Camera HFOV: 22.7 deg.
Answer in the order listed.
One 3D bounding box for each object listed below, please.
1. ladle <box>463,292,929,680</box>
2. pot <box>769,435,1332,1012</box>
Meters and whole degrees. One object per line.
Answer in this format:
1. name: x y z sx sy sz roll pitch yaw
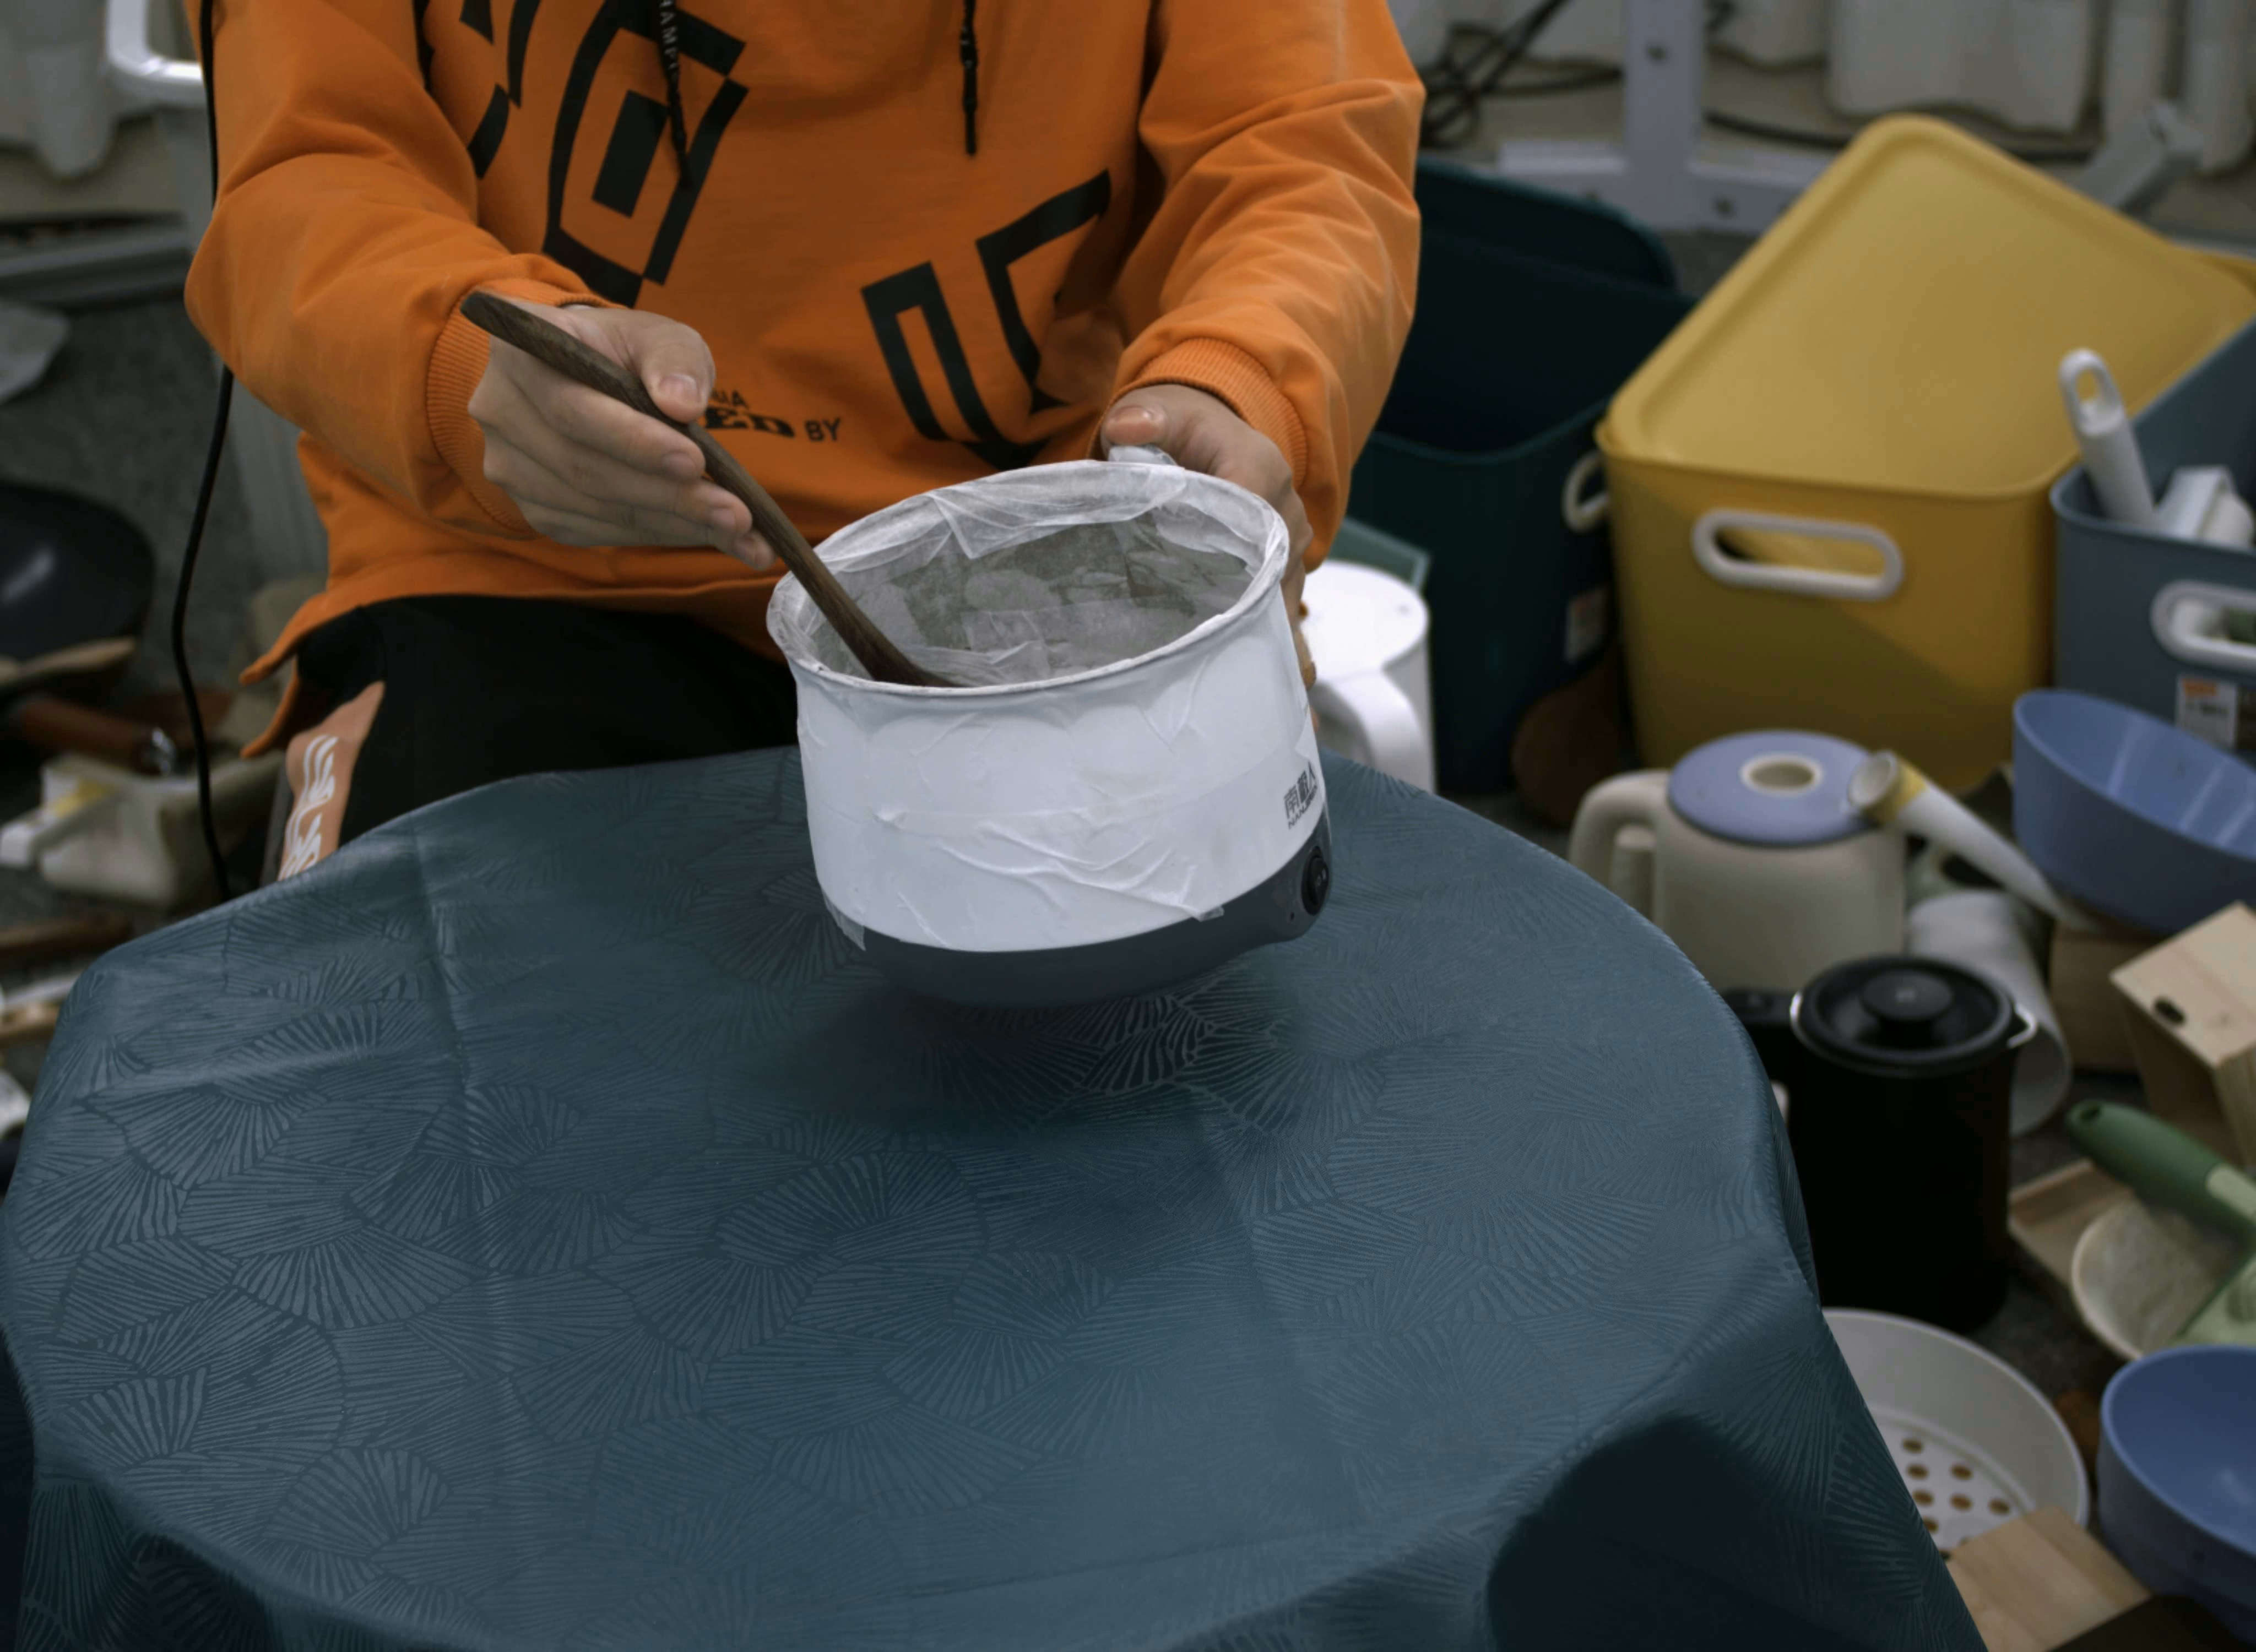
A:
1. ladle: -0.098 -0.103 1.871 0.071 0.273 0.076 -45 11 3
2. pot: -0.016 -0.042 1.932 0.177 0.135 0.238 2 28 20
